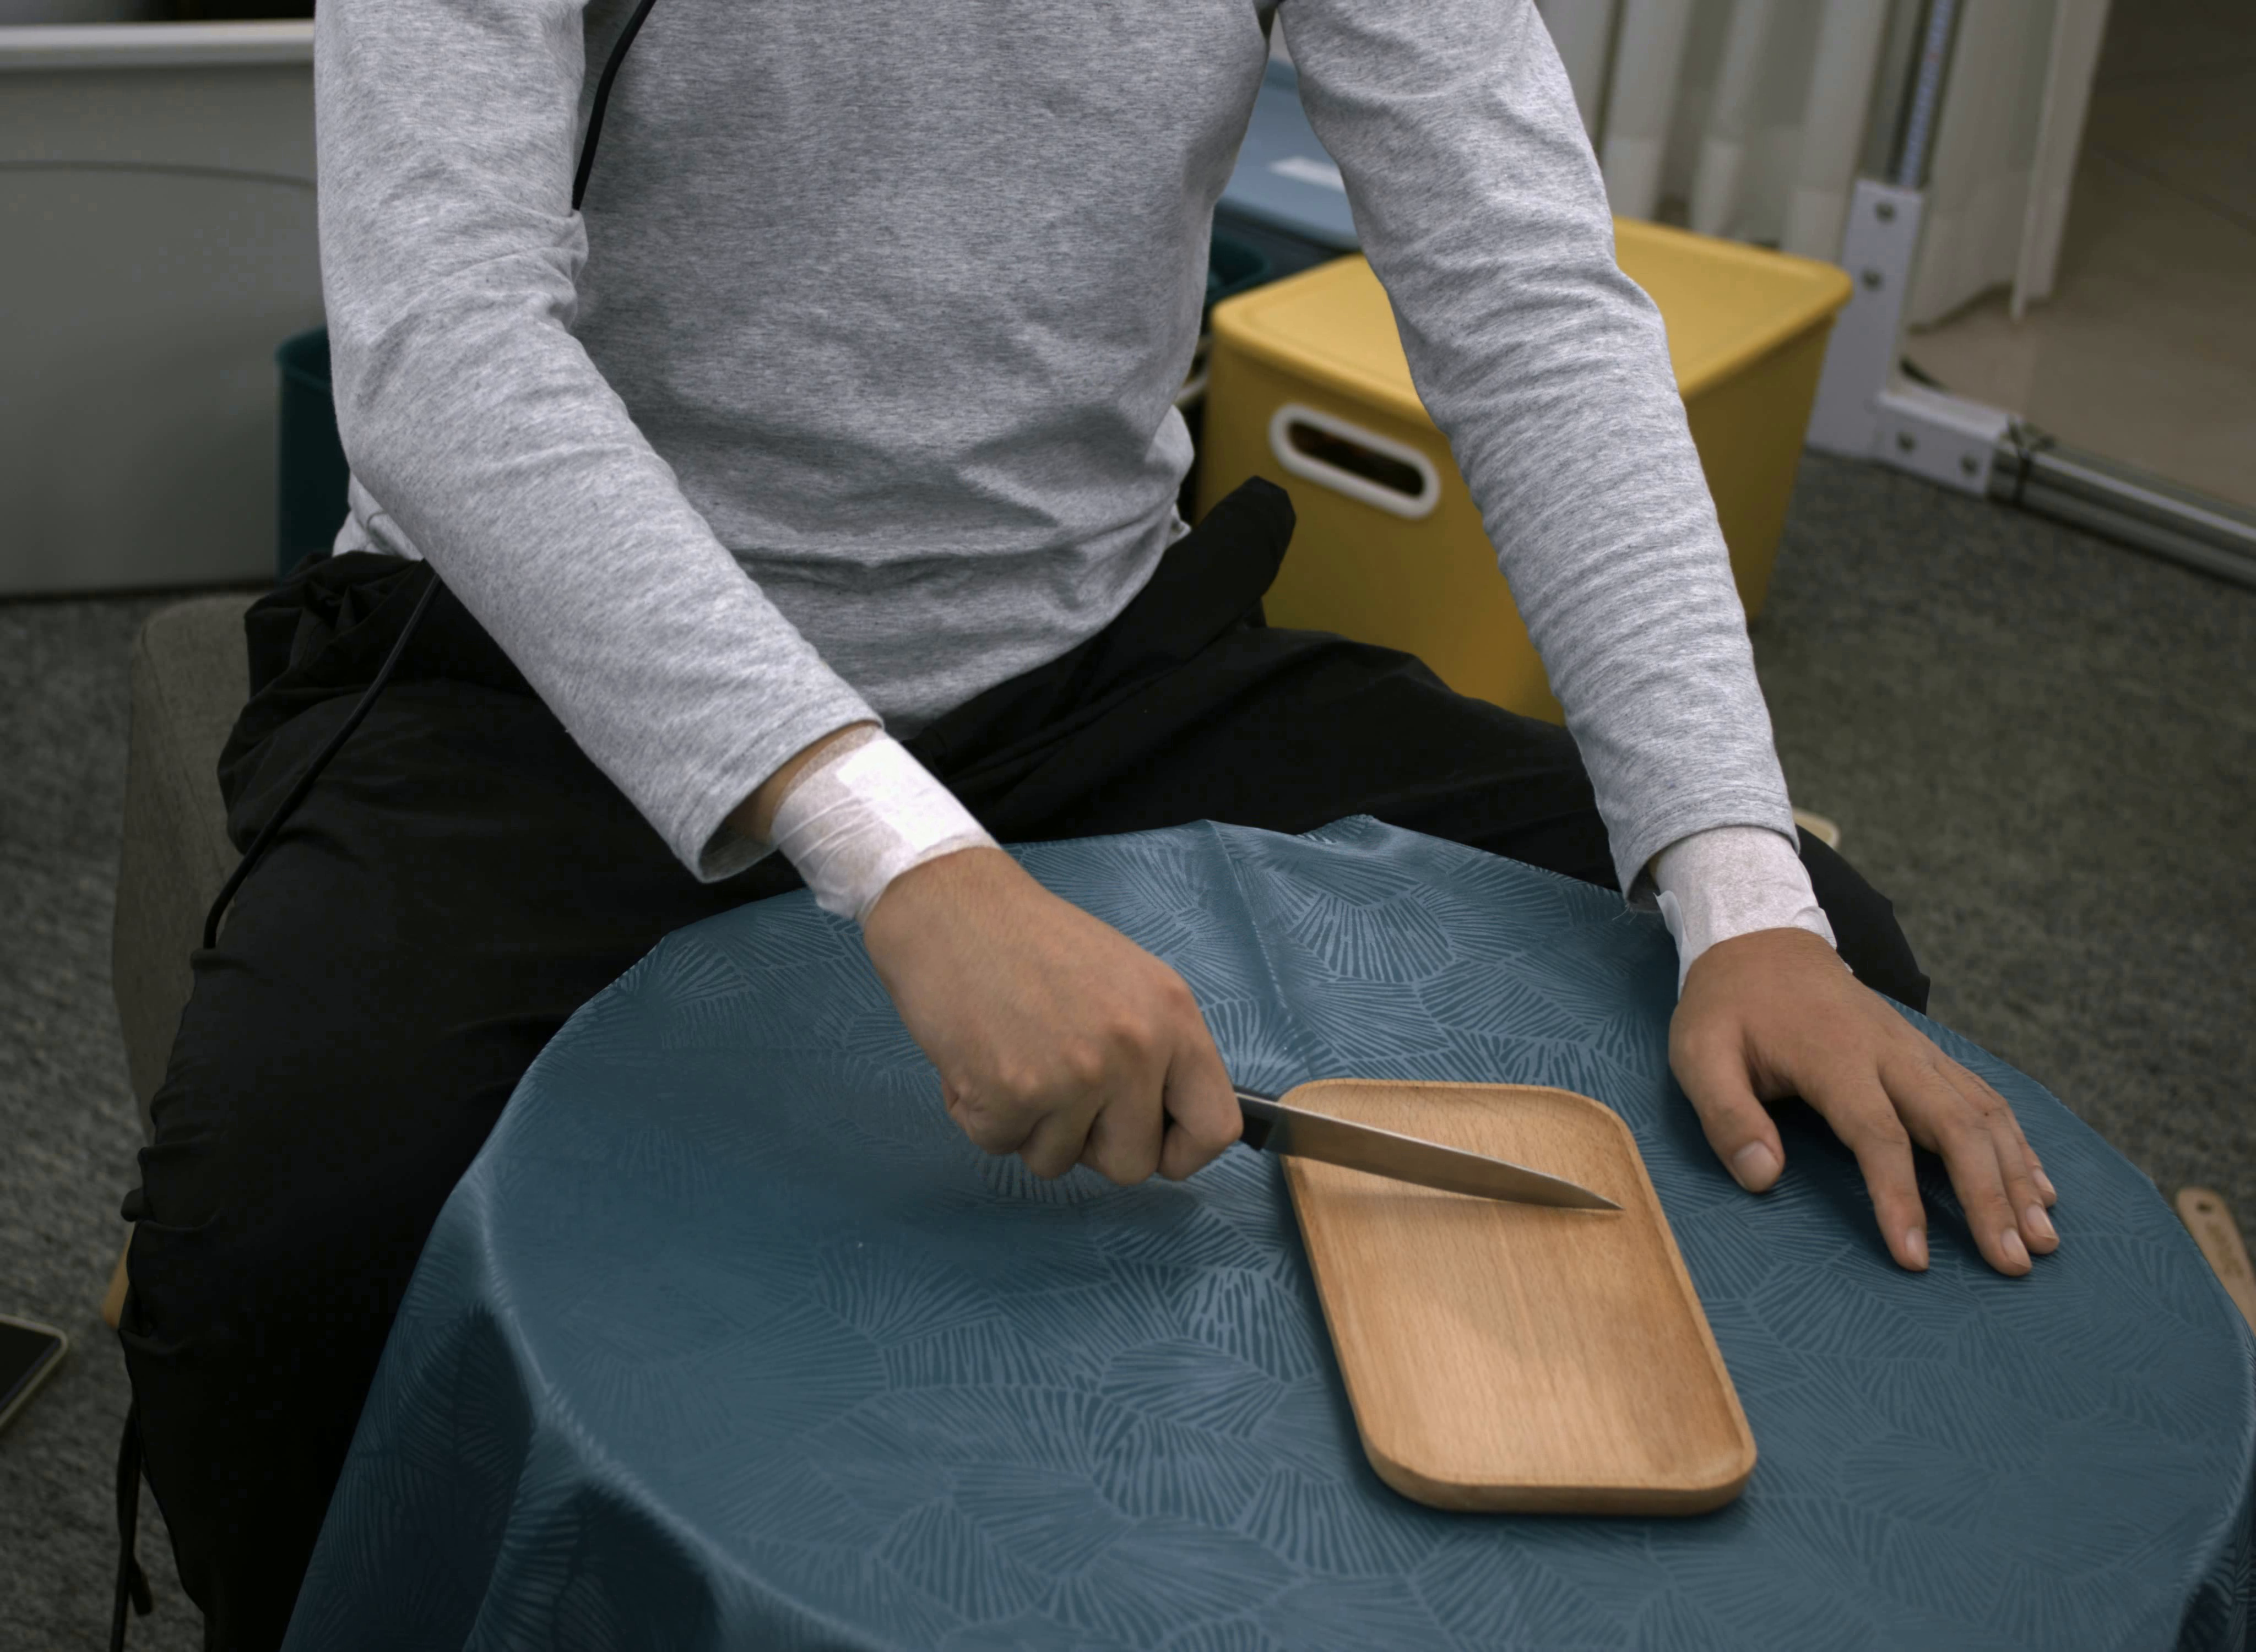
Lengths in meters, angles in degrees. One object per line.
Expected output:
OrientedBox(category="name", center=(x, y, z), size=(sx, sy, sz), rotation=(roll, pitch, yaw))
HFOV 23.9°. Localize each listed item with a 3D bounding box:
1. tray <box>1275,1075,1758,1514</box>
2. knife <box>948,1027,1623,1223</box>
OrientedBox(category="tray", center=(0.124, 0.152, 1.759), size=(0.130, 0.023, 0.252), rotation=(5, 26, -9))
OrientedBox(category="knife", center=(0.055, 0.103, 1.793), size=(0.237, 0.024, 0.016), rotation=(14, 40, -7))
